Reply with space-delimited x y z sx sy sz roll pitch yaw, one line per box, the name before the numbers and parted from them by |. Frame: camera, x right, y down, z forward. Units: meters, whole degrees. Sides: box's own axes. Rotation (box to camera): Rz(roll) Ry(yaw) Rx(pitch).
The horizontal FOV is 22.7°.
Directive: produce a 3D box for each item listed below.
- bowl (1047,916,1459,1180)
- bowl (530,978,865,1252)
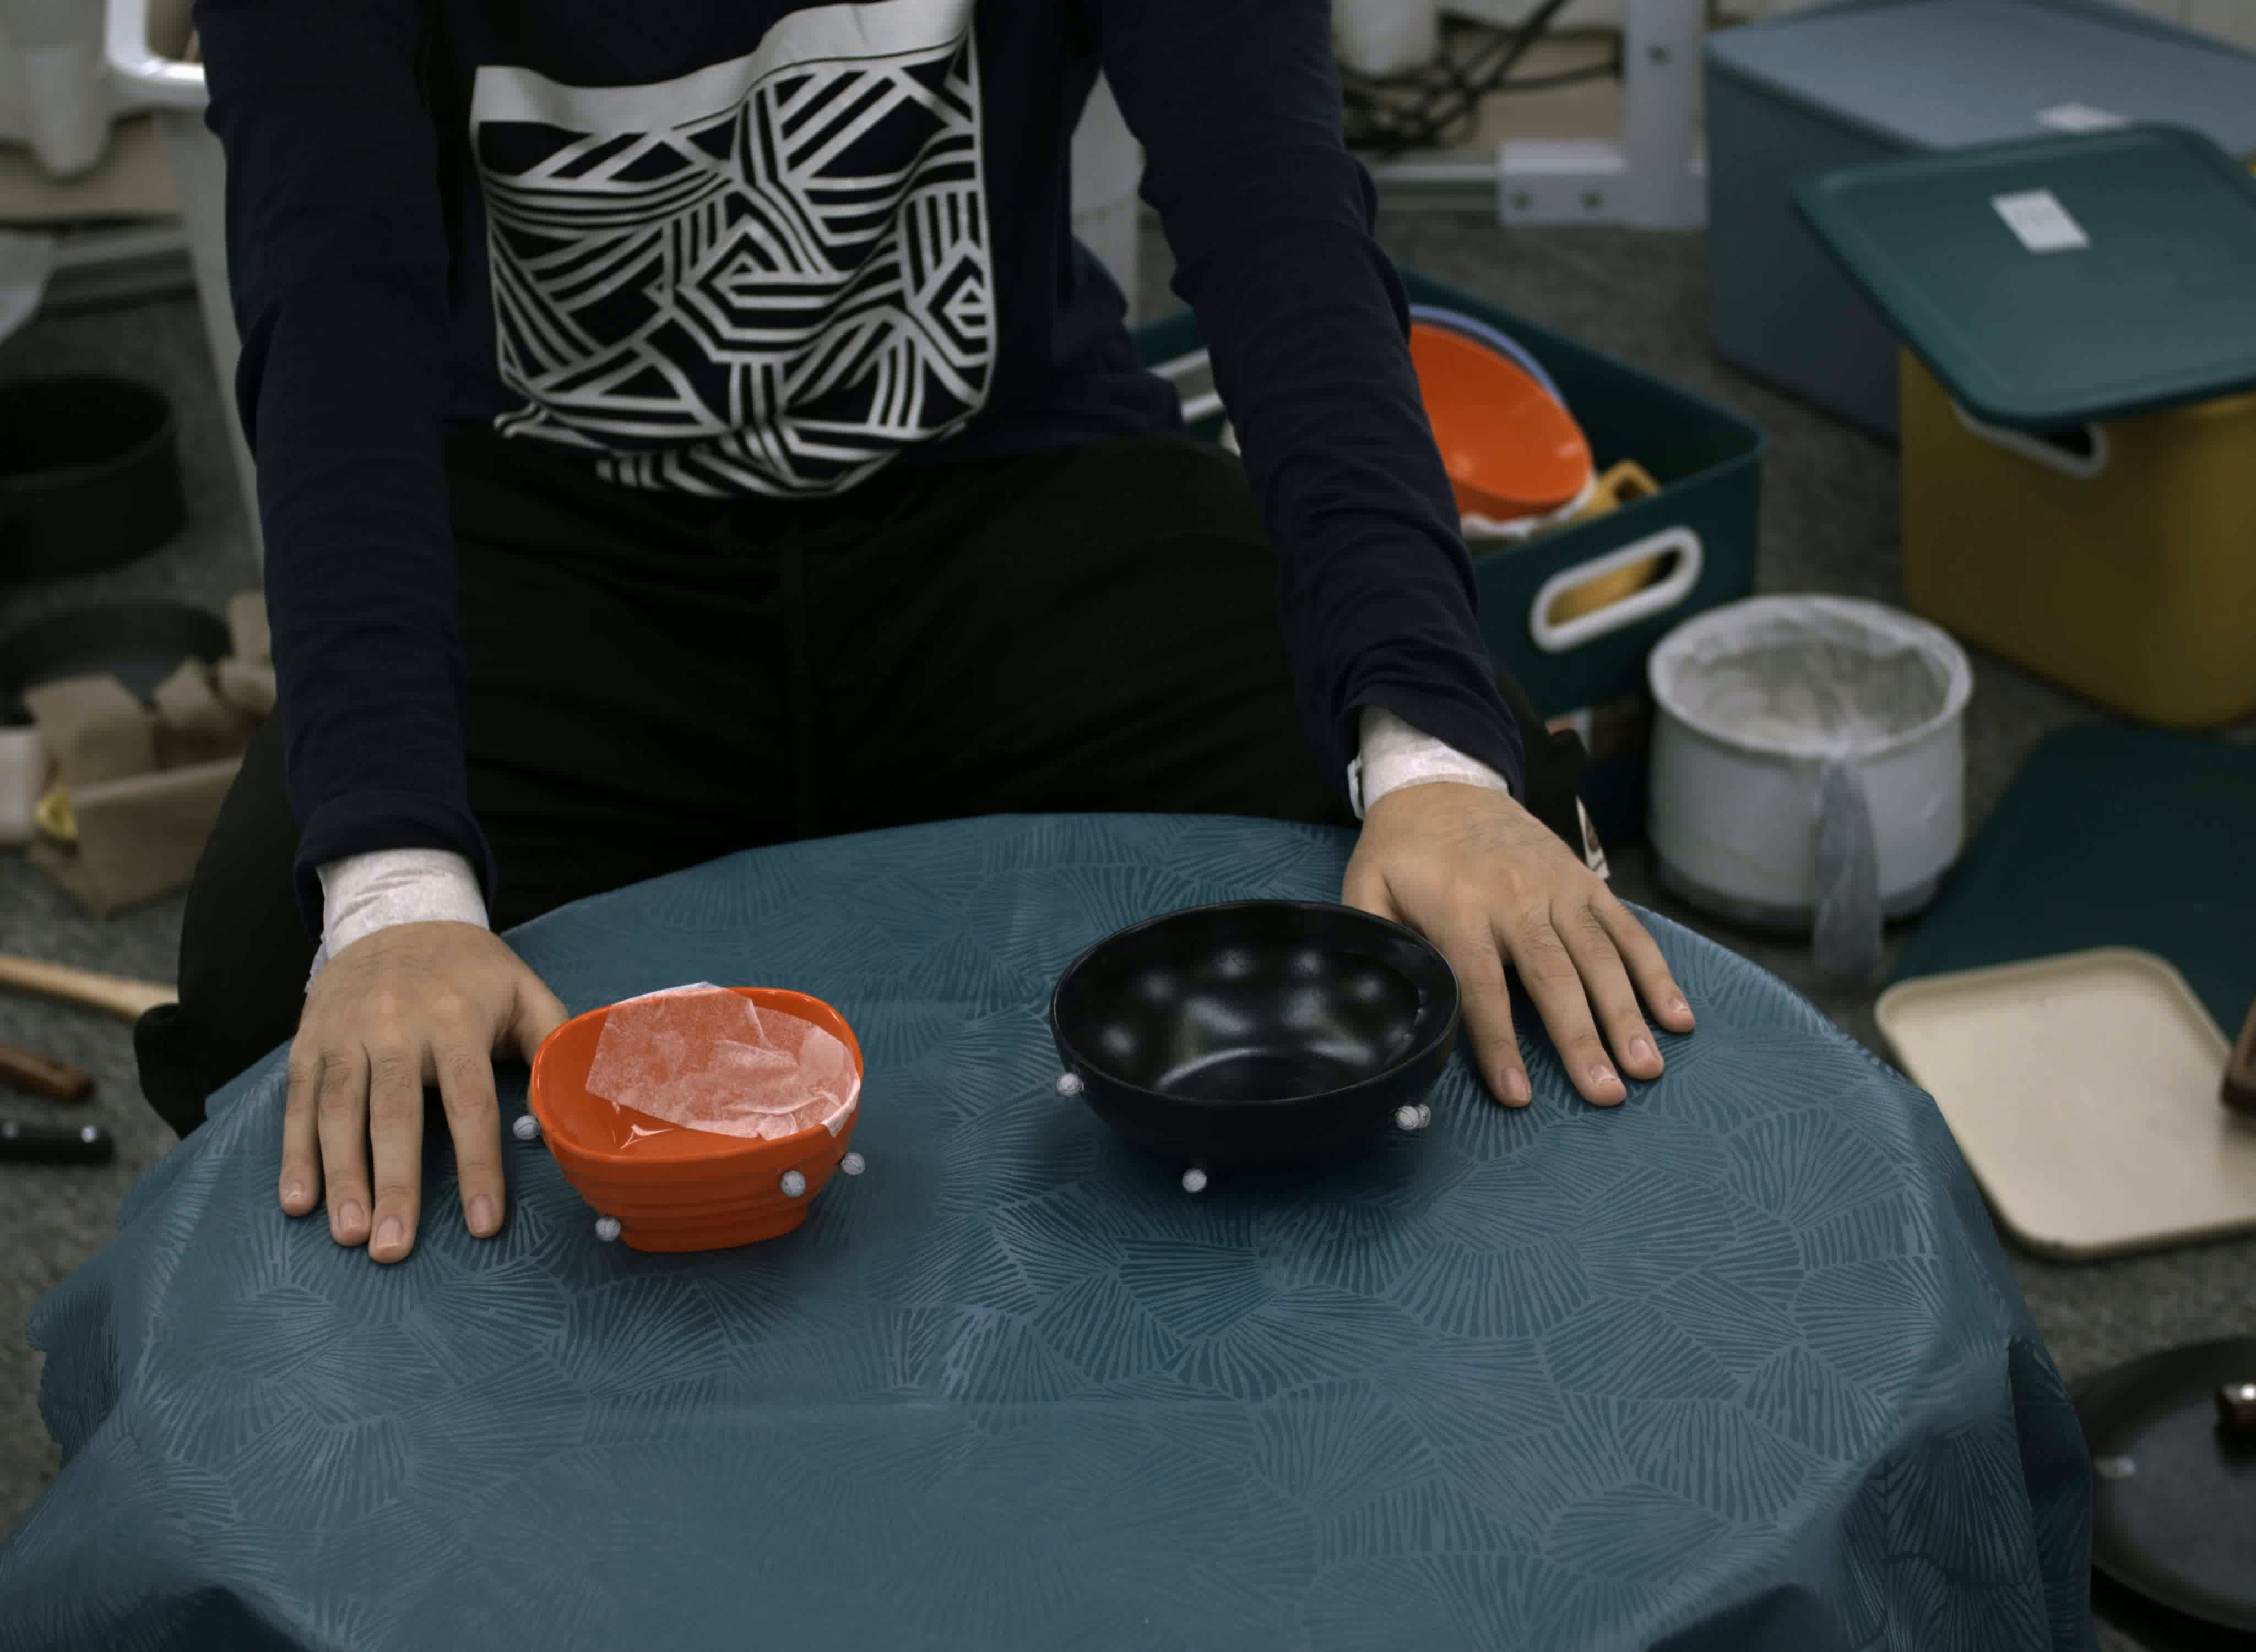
bowl | 0.043 0.081 1.889 0.139 0.049 0.142 -3 23 2
bowl | -0.140 0.101 1.858 0.118 0.051 0.121 -3 29 2
